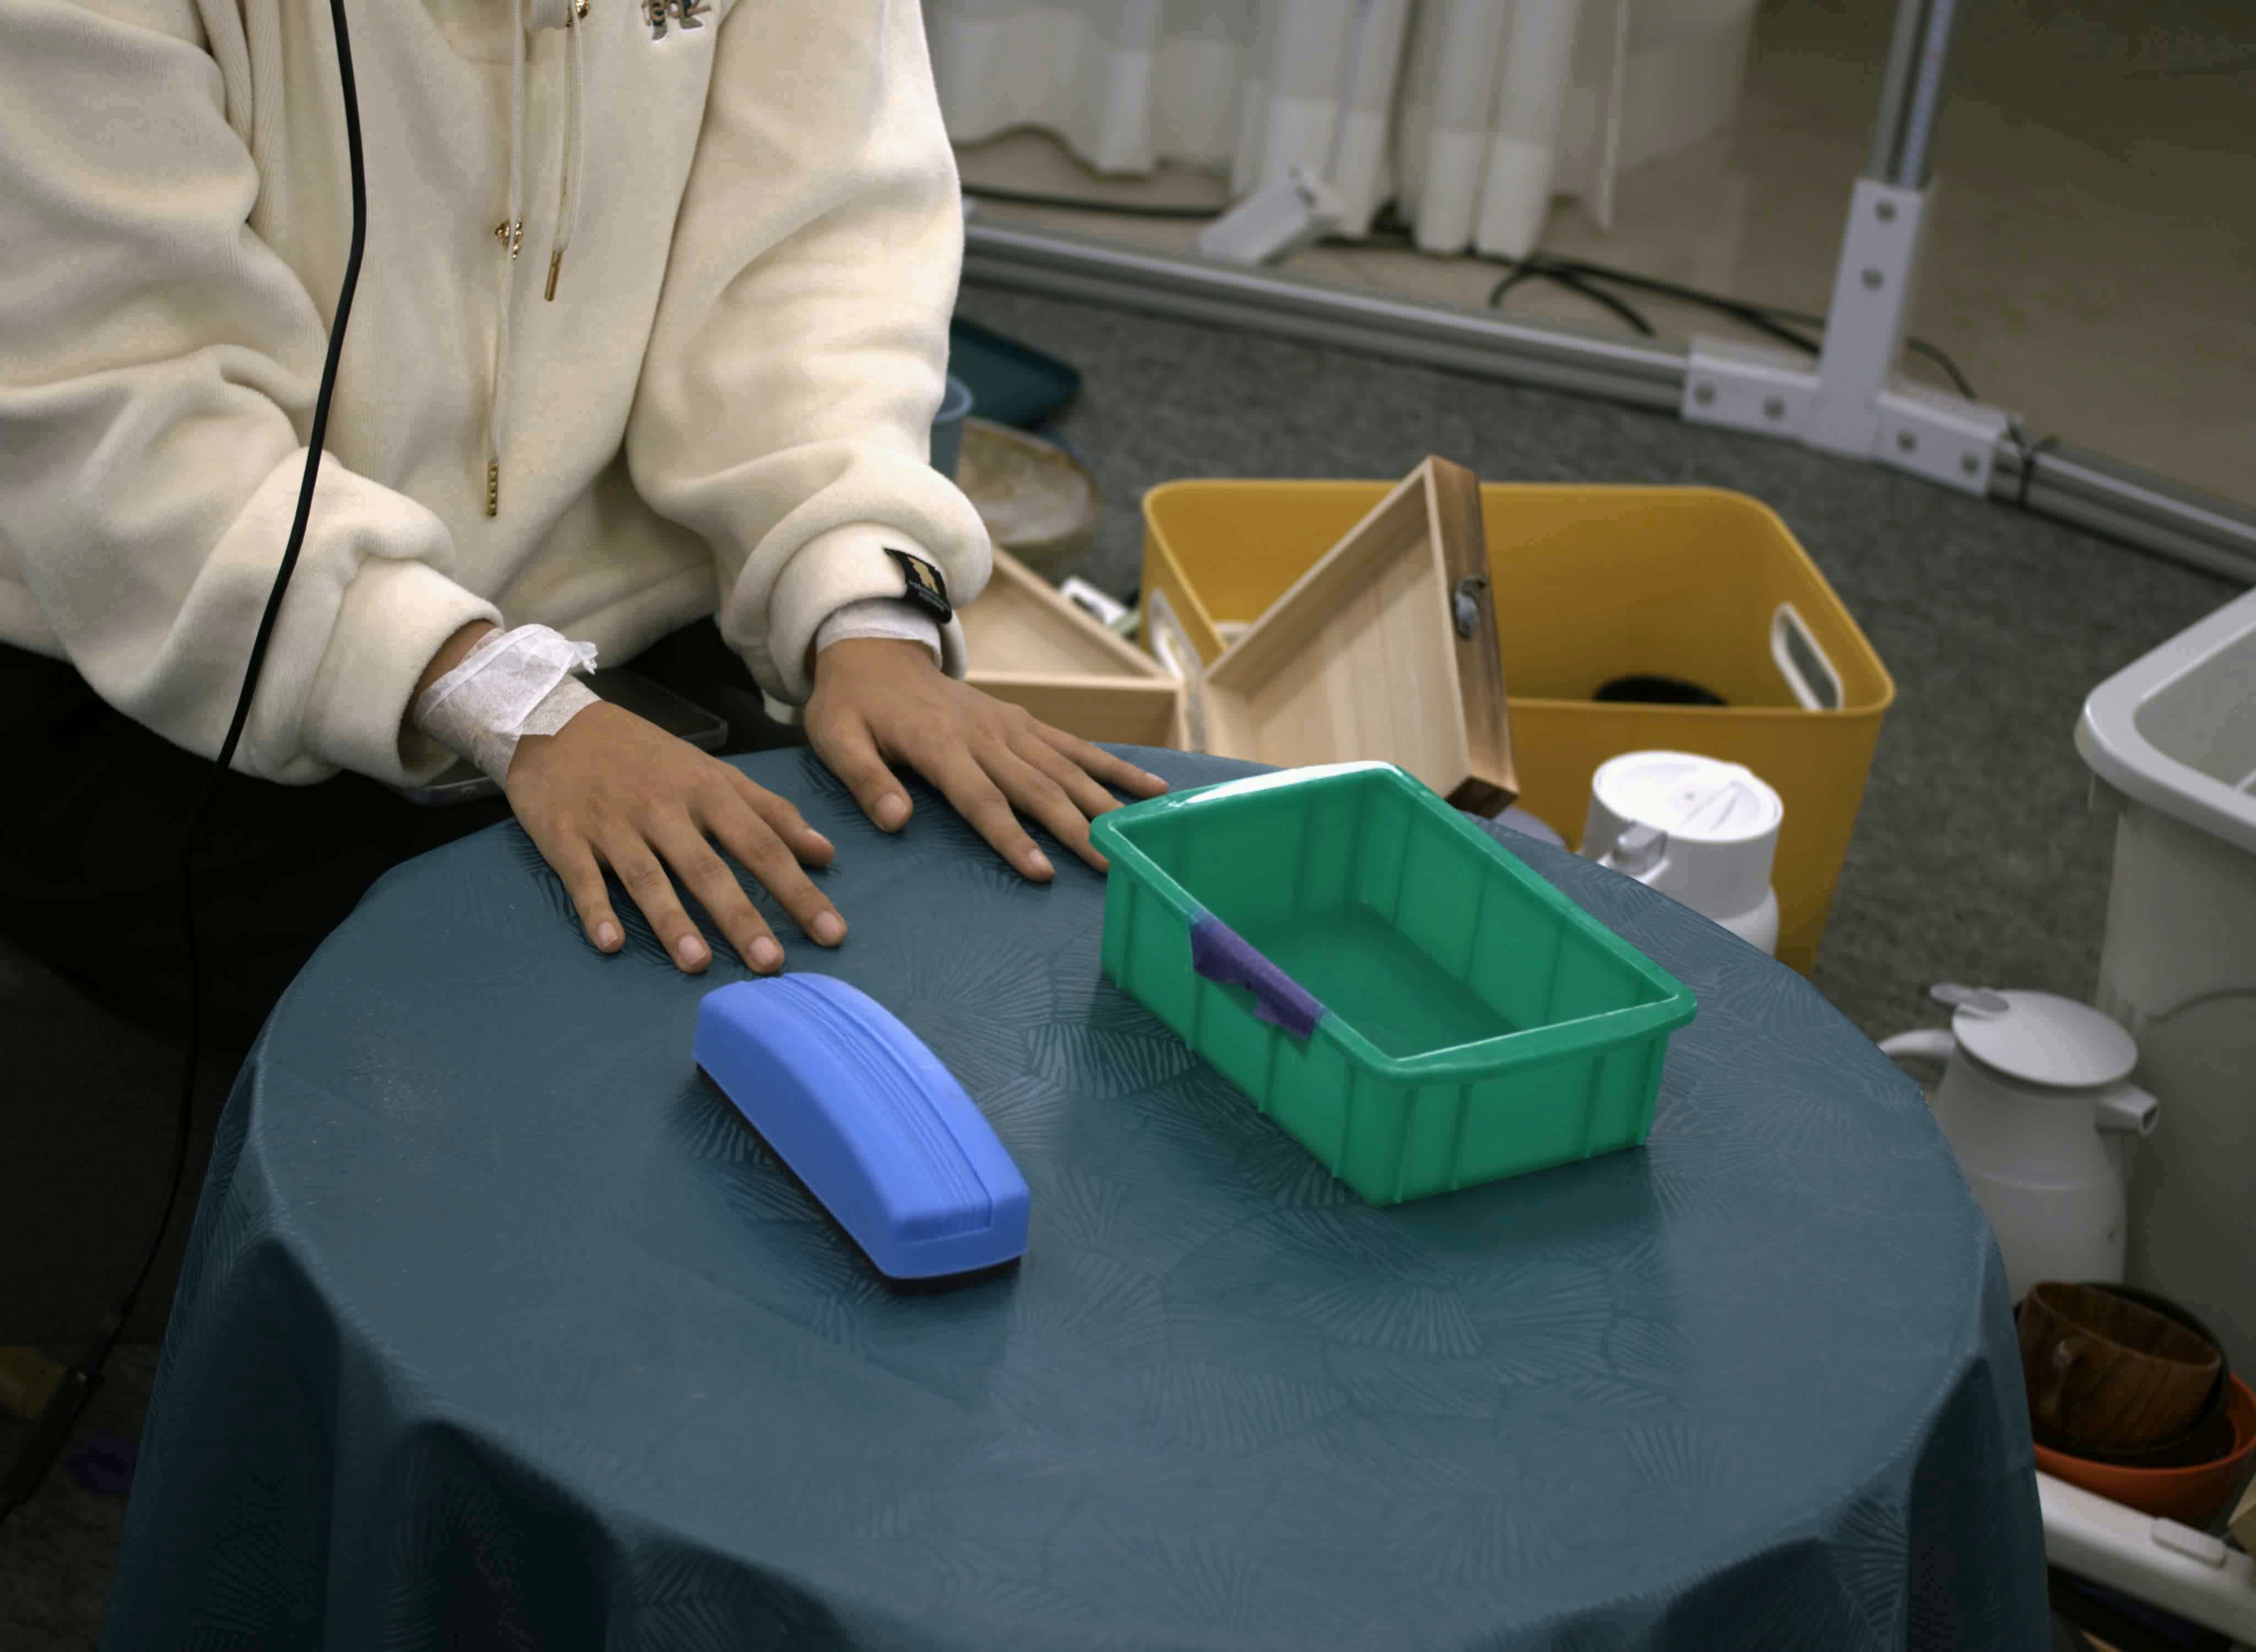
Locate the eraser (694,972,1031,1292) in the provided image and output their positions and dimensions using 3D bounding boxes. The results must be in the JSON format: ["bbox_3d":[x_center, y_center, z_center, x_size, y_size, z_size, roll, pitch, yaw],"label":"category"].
[{"bbox_3d":[-0.090,0.096,1.785,0.053,0.047,0.164,-9,31,-28],"label":"eraser"}]

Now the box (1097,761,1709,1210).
[{"bbox_3d":[0.092,0.056,1.887,0.138,0.065,0.212,-13,34,-31],"label":"box"}]
